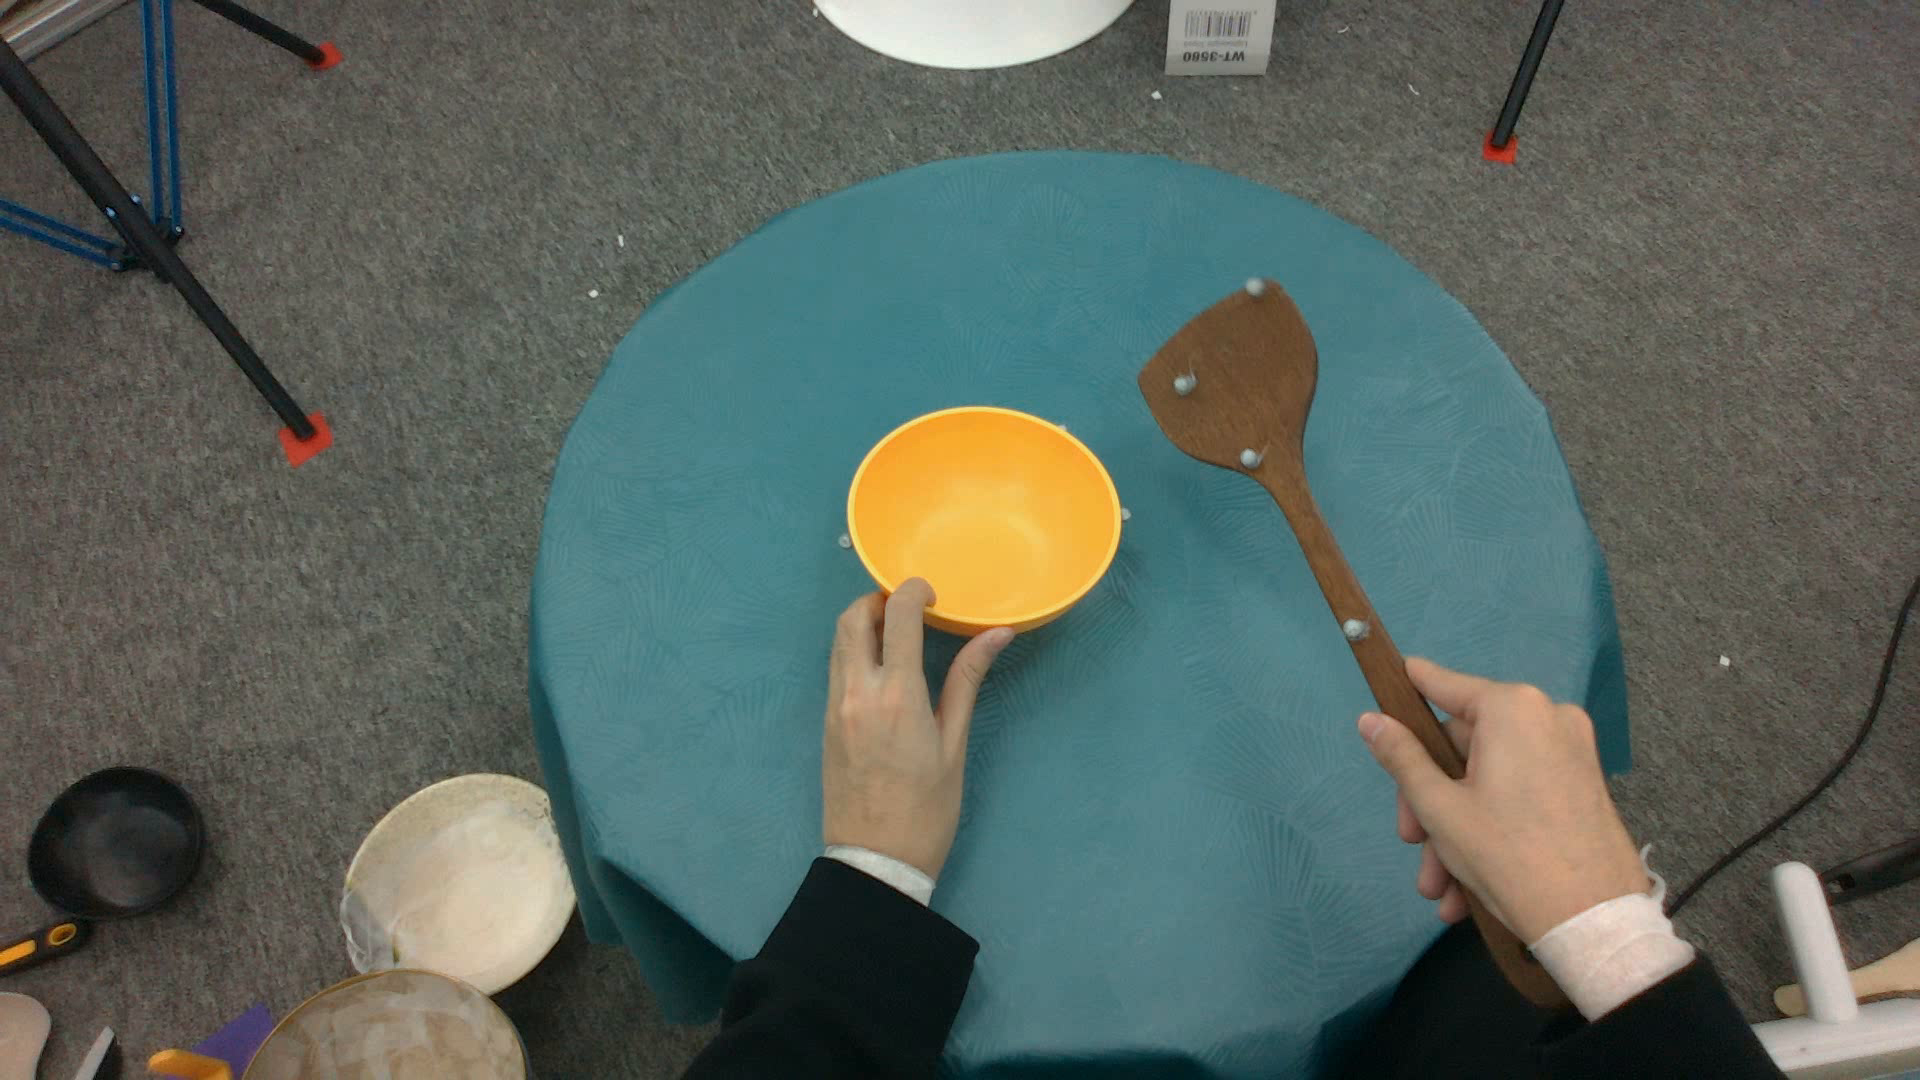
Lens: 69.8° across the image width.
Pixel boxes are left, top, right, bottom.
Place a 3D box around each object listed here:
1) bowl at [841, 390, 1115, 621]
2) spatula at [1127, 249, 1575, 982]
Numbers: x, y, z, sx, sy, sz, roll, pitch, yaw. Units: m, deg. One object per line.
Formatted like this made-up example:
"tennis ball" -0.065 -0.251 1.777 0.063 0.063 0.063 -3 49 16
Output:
"bowl" 0.009 -0.009 0.747 0.145 0.060 0.146 0 55 0
"spatula" 0.173 0.015 0.628 0.096 0.016 0.387 -39 50 25
